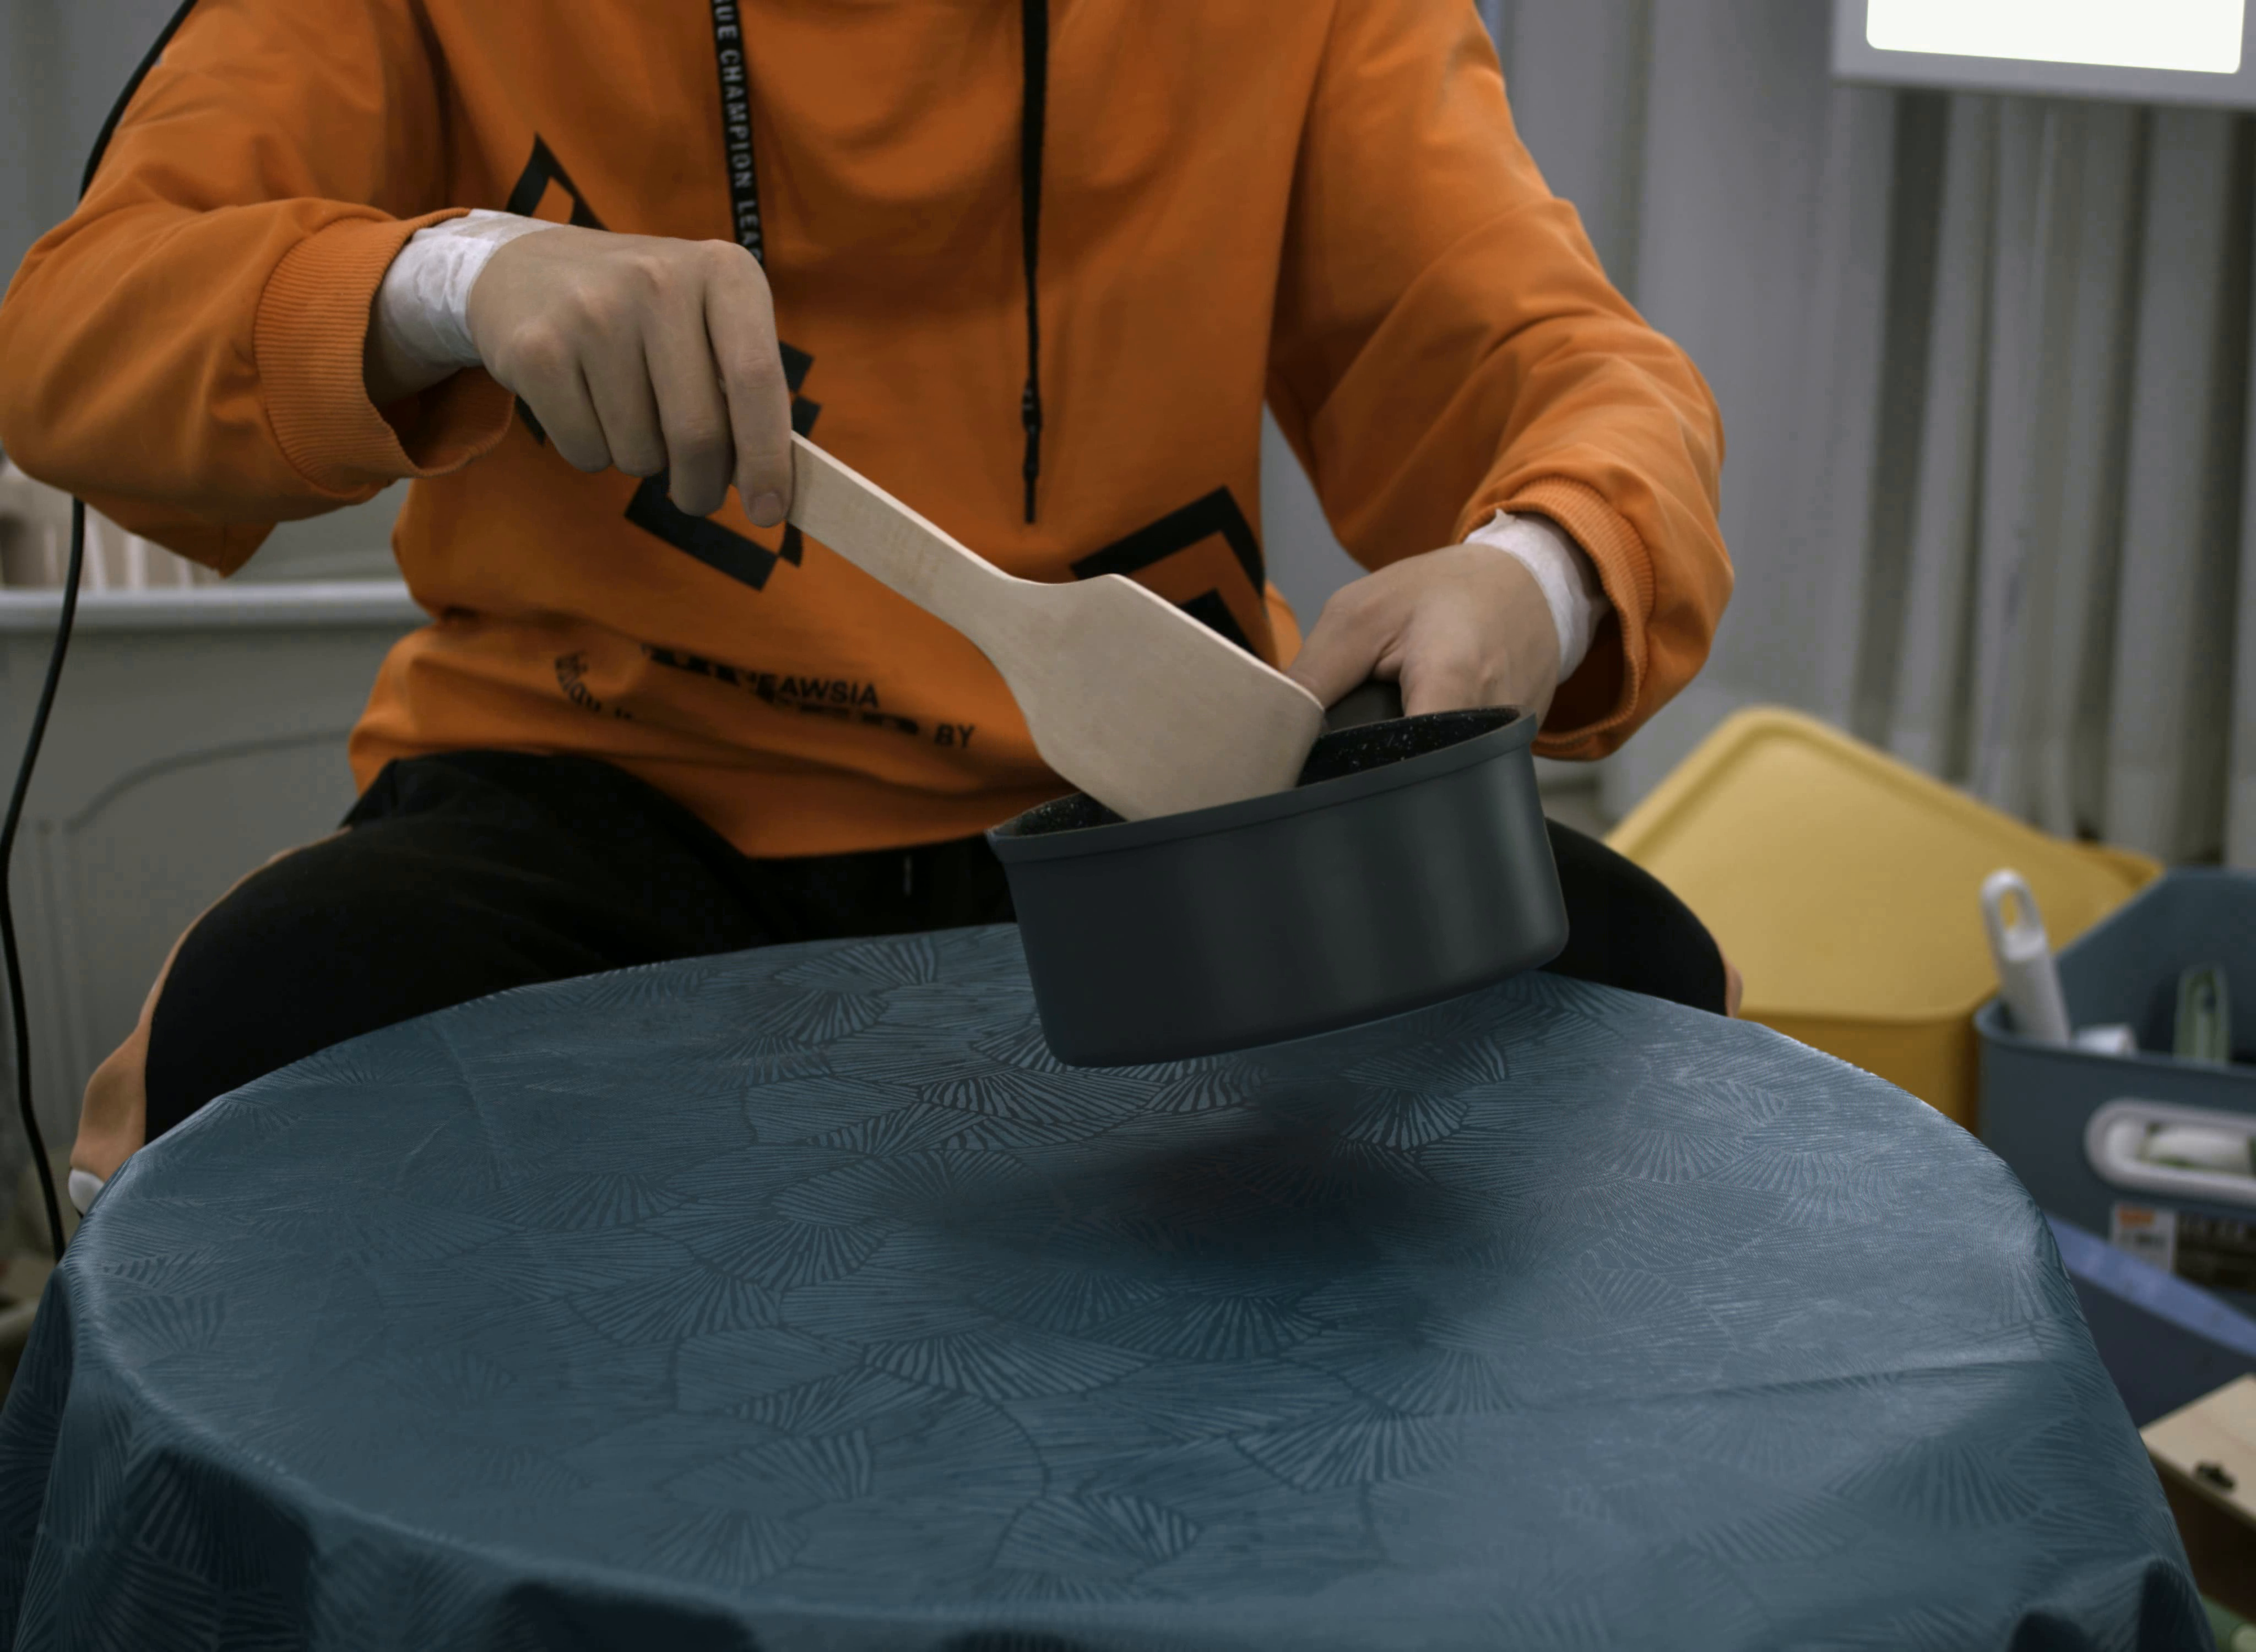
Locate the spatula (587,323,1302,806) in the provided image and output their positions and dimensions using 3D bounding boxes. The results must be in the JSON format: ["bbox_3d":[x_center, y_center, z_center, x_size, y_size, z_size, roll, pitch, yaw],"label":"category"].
[{"bbox_3d":[-0.066,-0.085,1.669,0.290,0.073,0.011,34,30,24],"label":"spatula"}]

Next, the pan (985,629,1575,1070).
[{"bbox_3d":[0.068,0.003,1.669,0.171,0.087,0.329,-10,7,17],"label":"pan"}]
